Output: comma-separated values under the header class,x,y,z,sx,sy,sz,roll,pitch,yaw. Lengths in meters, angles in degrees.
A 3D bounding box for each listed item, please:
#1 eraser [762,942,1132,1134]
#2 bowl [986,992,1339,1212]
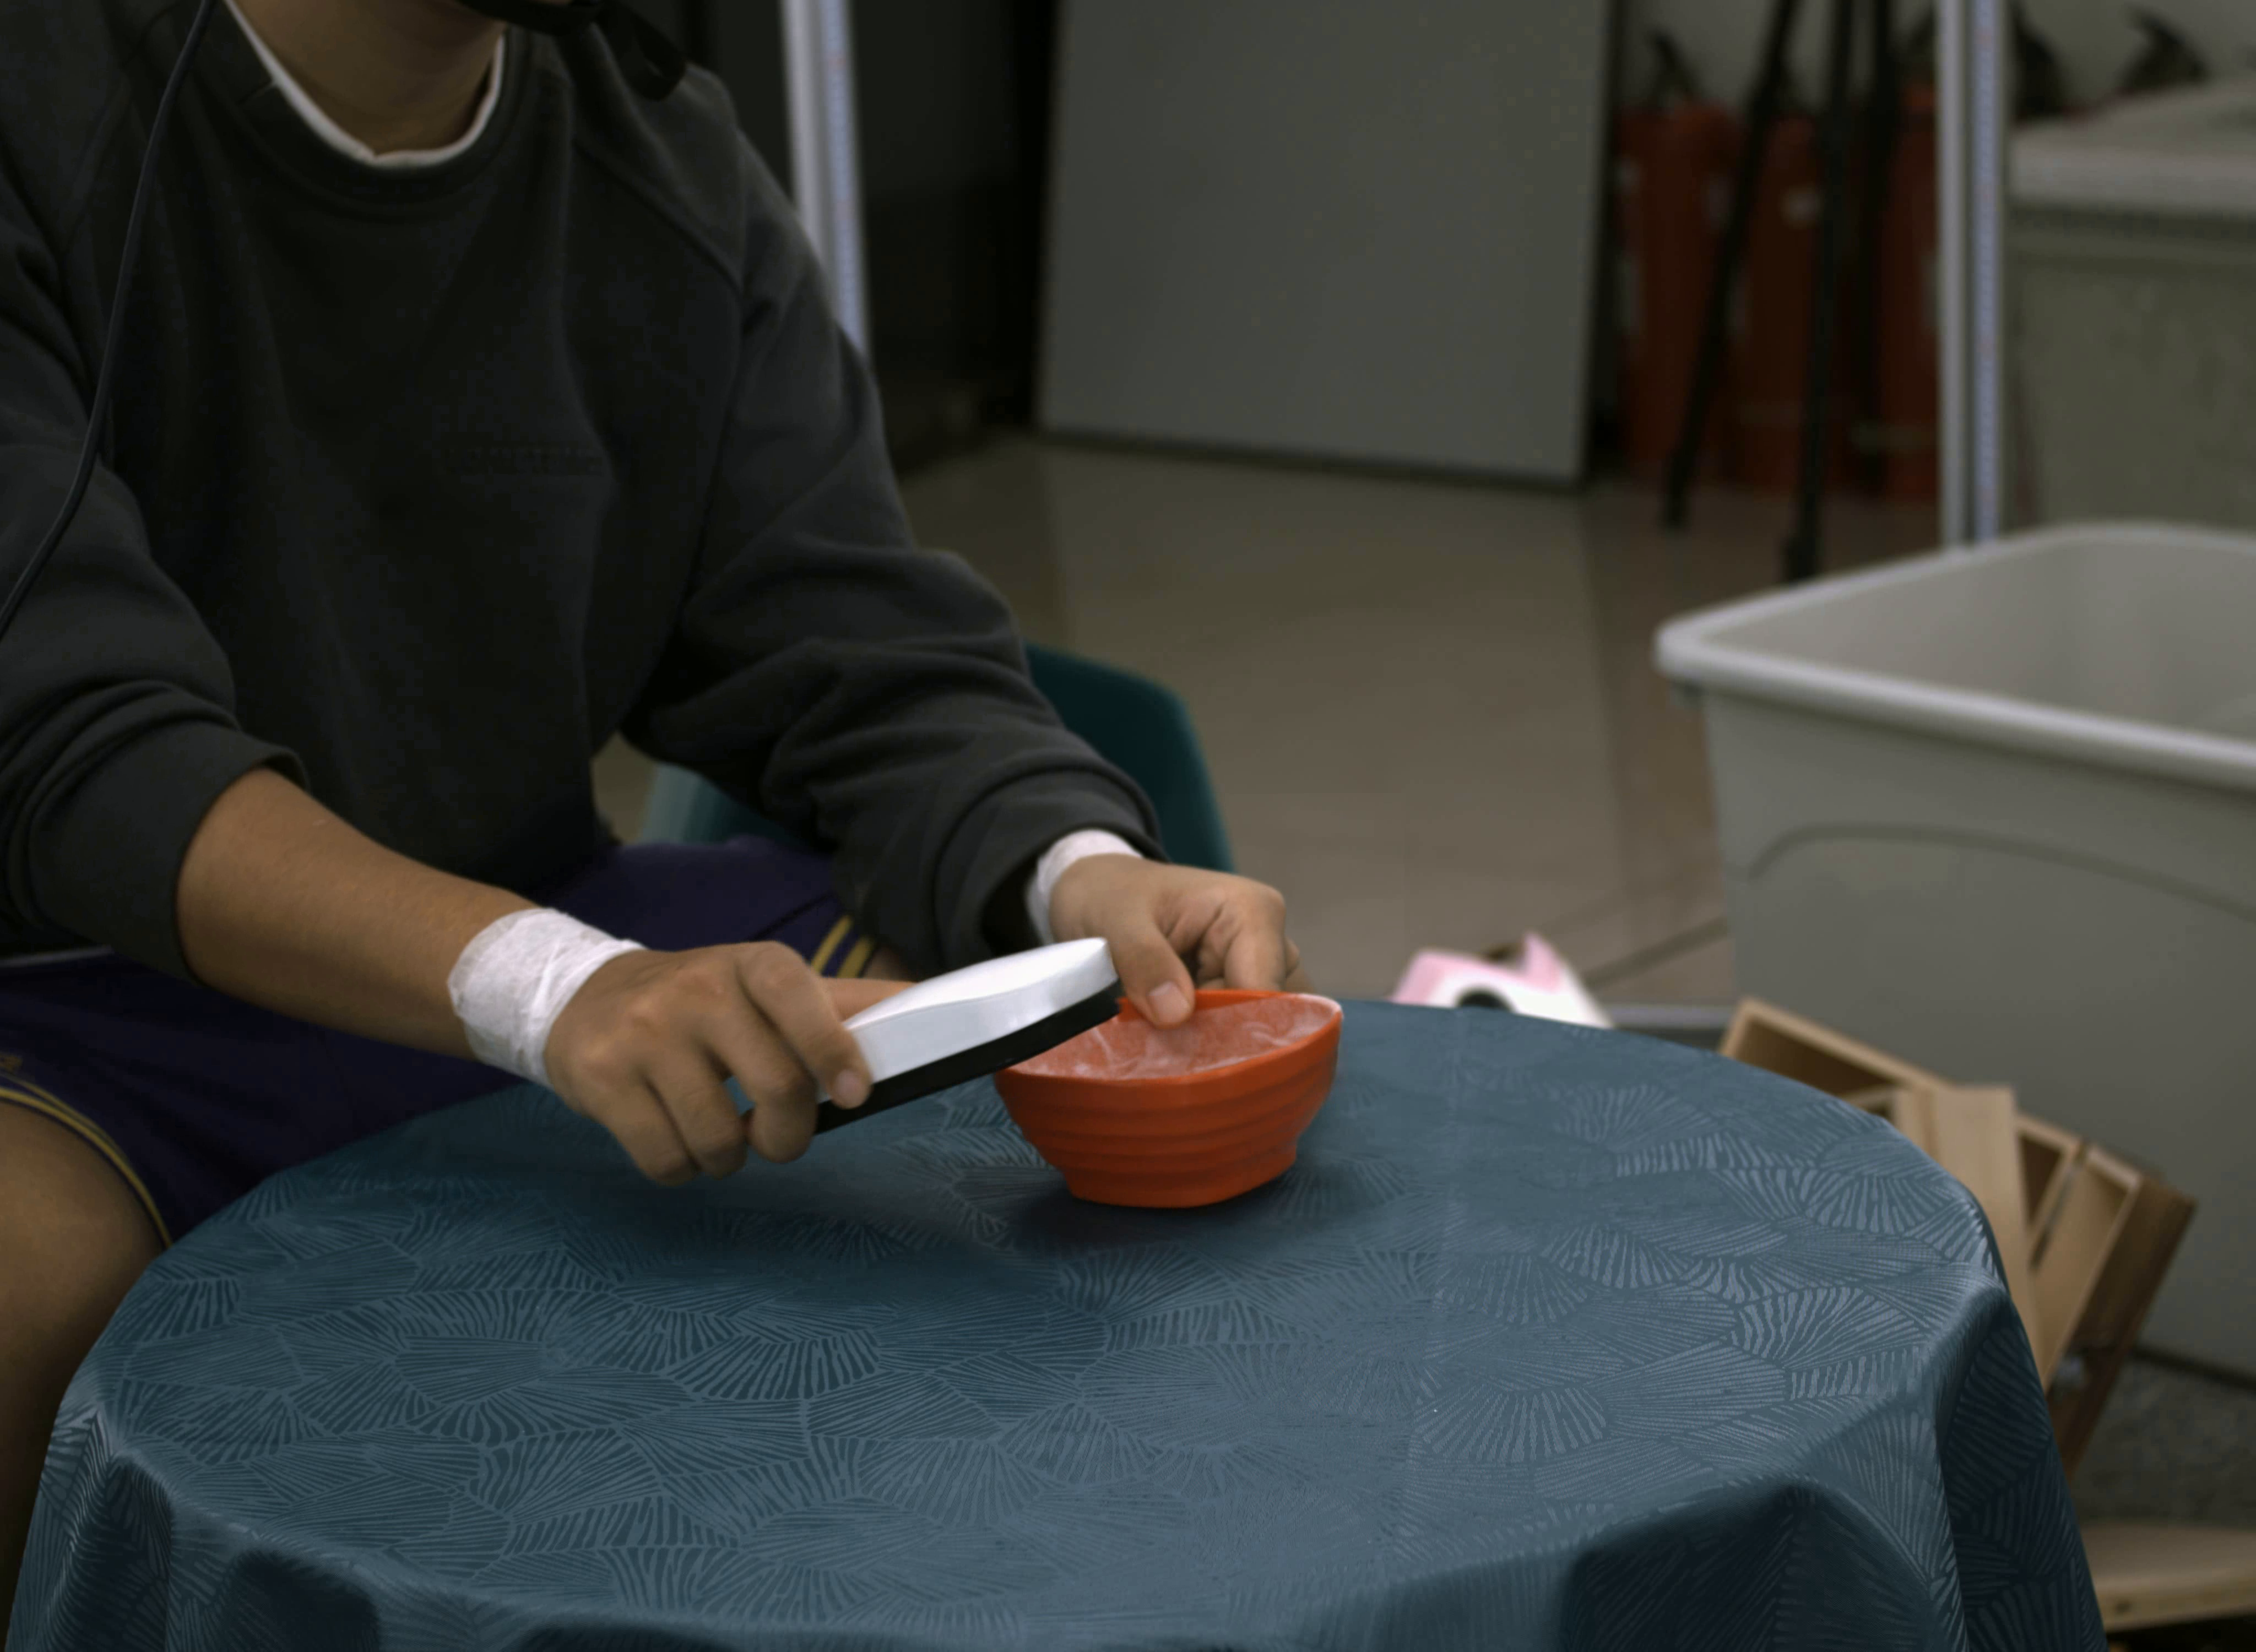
class,x,y,z,sx,sy,sz,roll,pitch,yaw
eraser,-0.057,0.064,1.719,0.132,0.035,0.062,-20,1,45
bowl,0.015,0.092,1.765,0.117,0.052,0.119,-9,10,1
